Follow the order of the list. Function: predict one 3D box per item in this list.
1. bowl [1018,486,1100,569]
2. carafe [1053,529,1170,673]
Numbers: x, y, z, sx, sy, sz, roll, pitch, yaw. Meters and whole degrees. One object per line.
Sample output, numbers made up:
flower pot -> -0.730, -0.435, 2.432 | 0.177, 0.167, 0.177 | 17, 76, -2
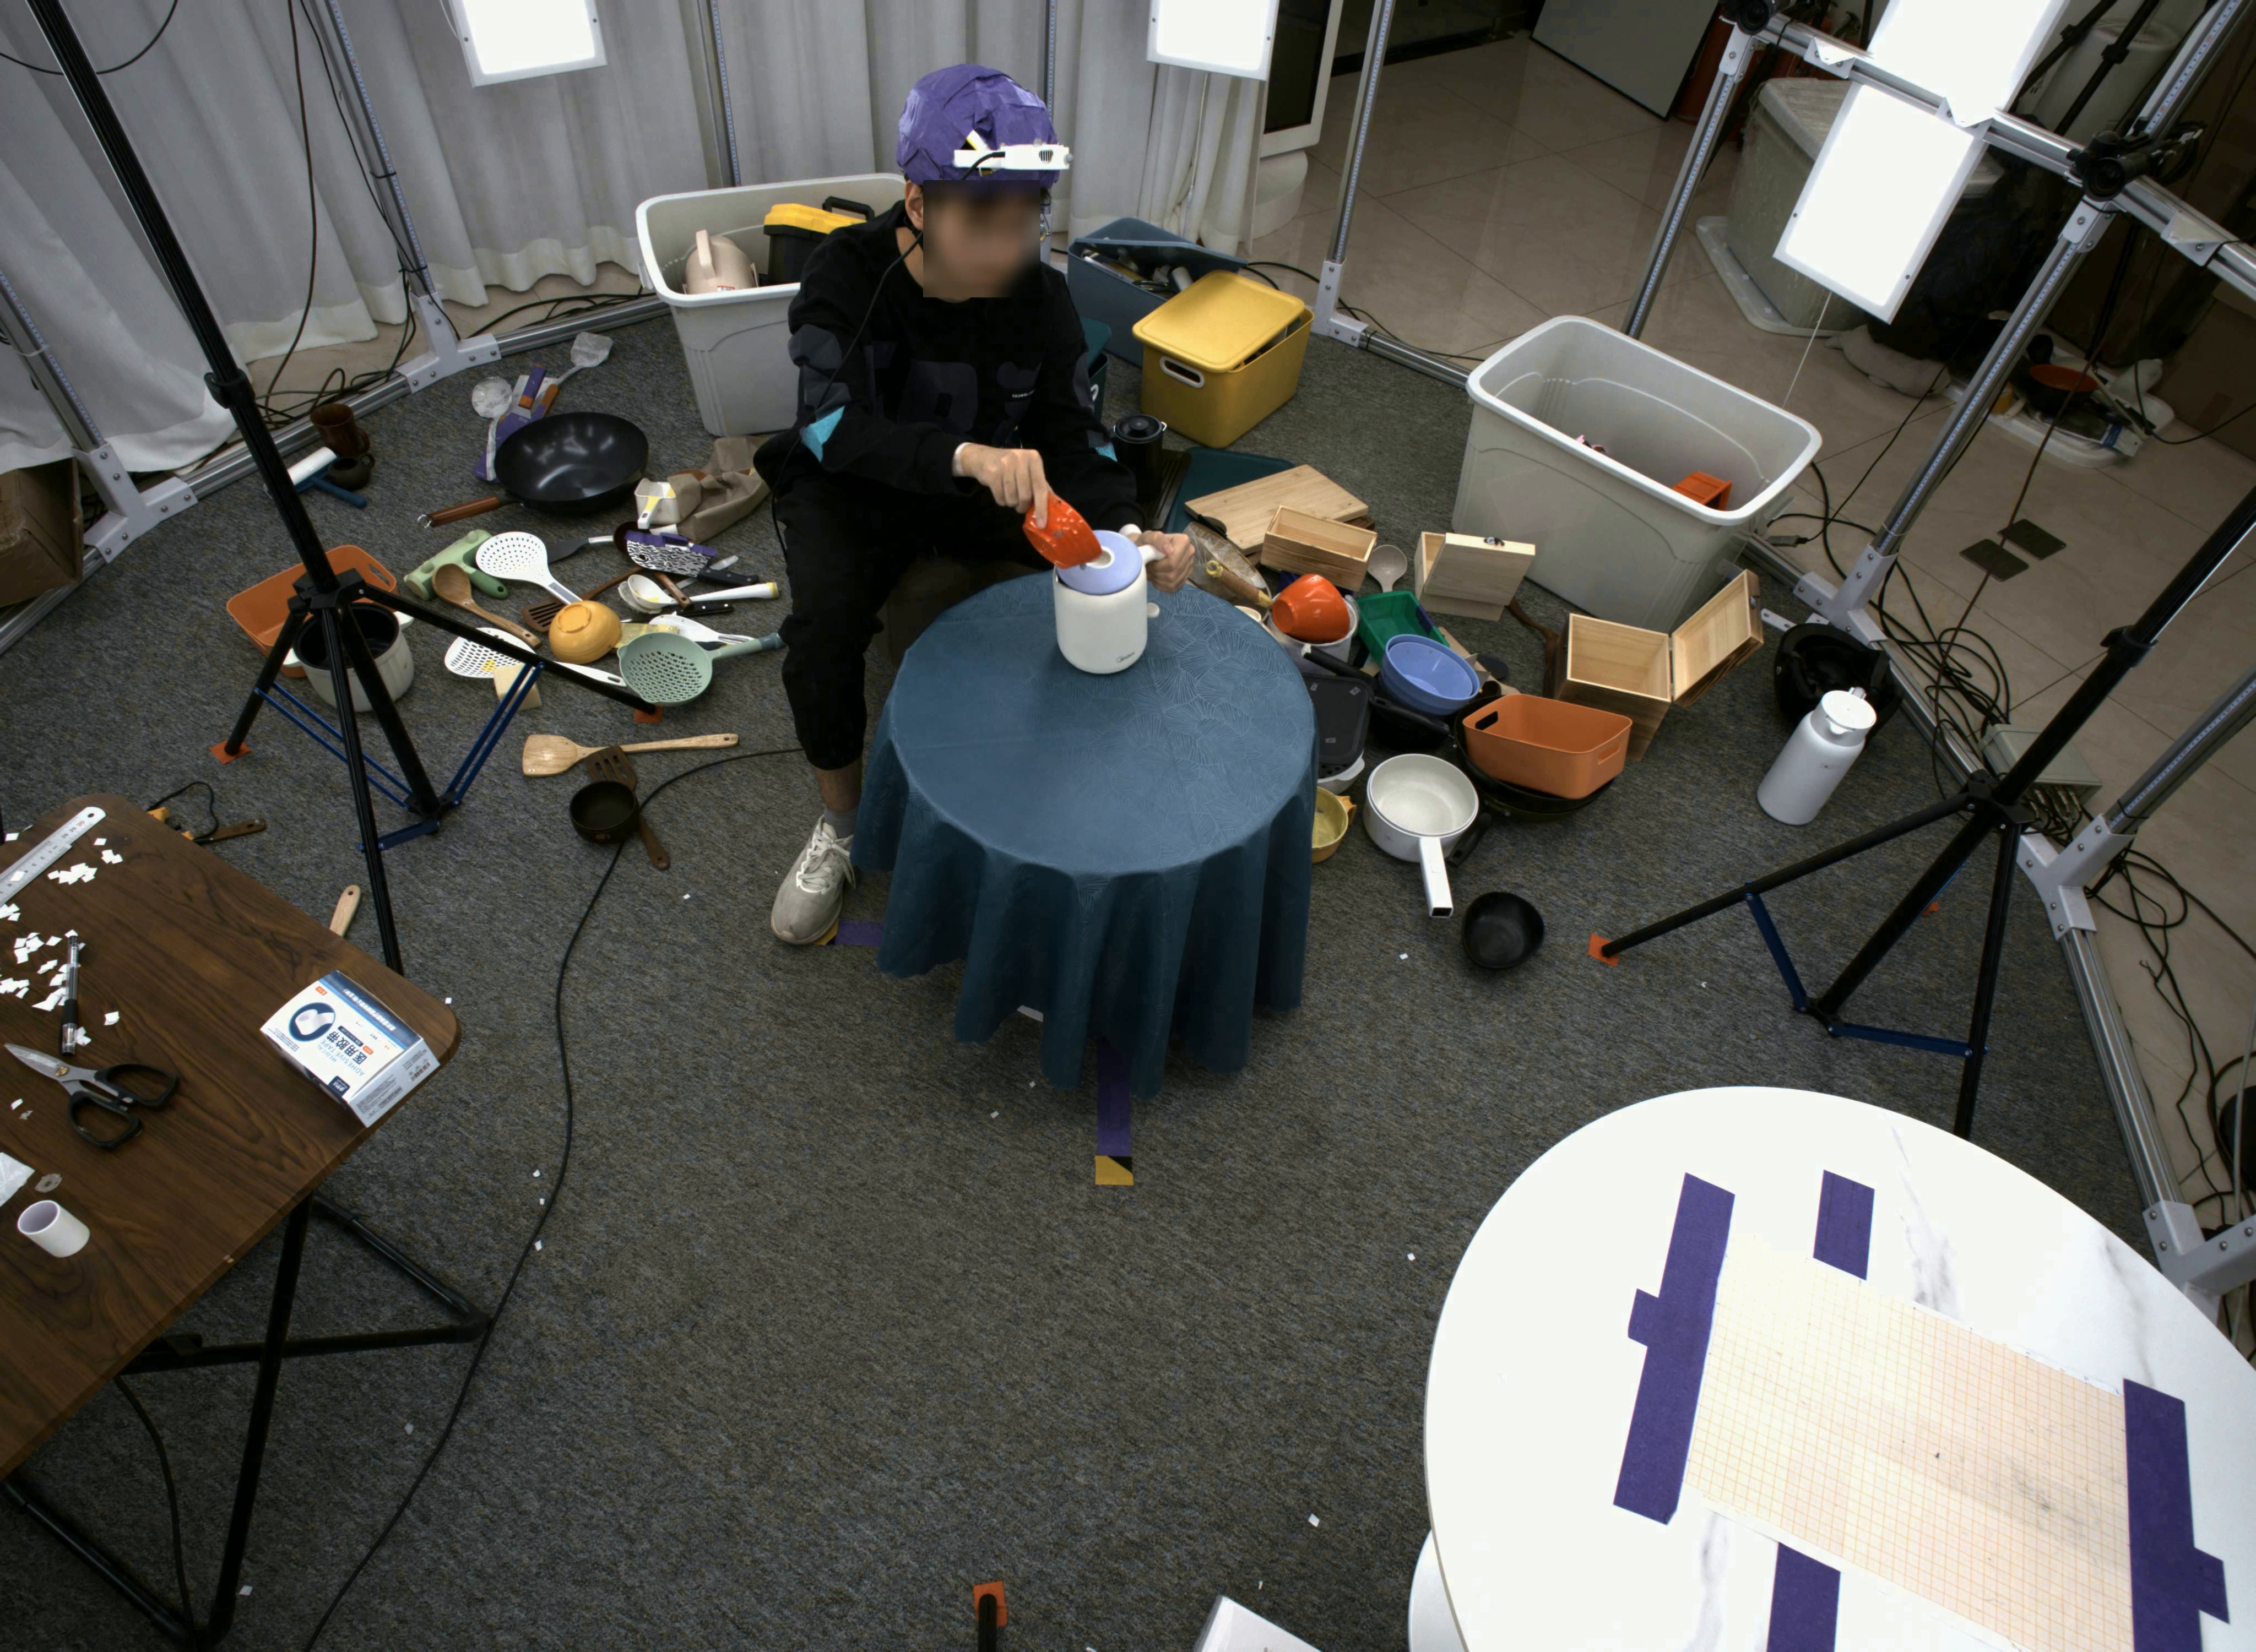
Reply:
bowl -> -0.095, -0.374, 1.647 | 0.051, 0.117, 0.121 | -47, 62, 0
carafe -> -0.018, -0.328, 1.828 | 0.192, 0.178, 0.135 | -28, 61, -19
